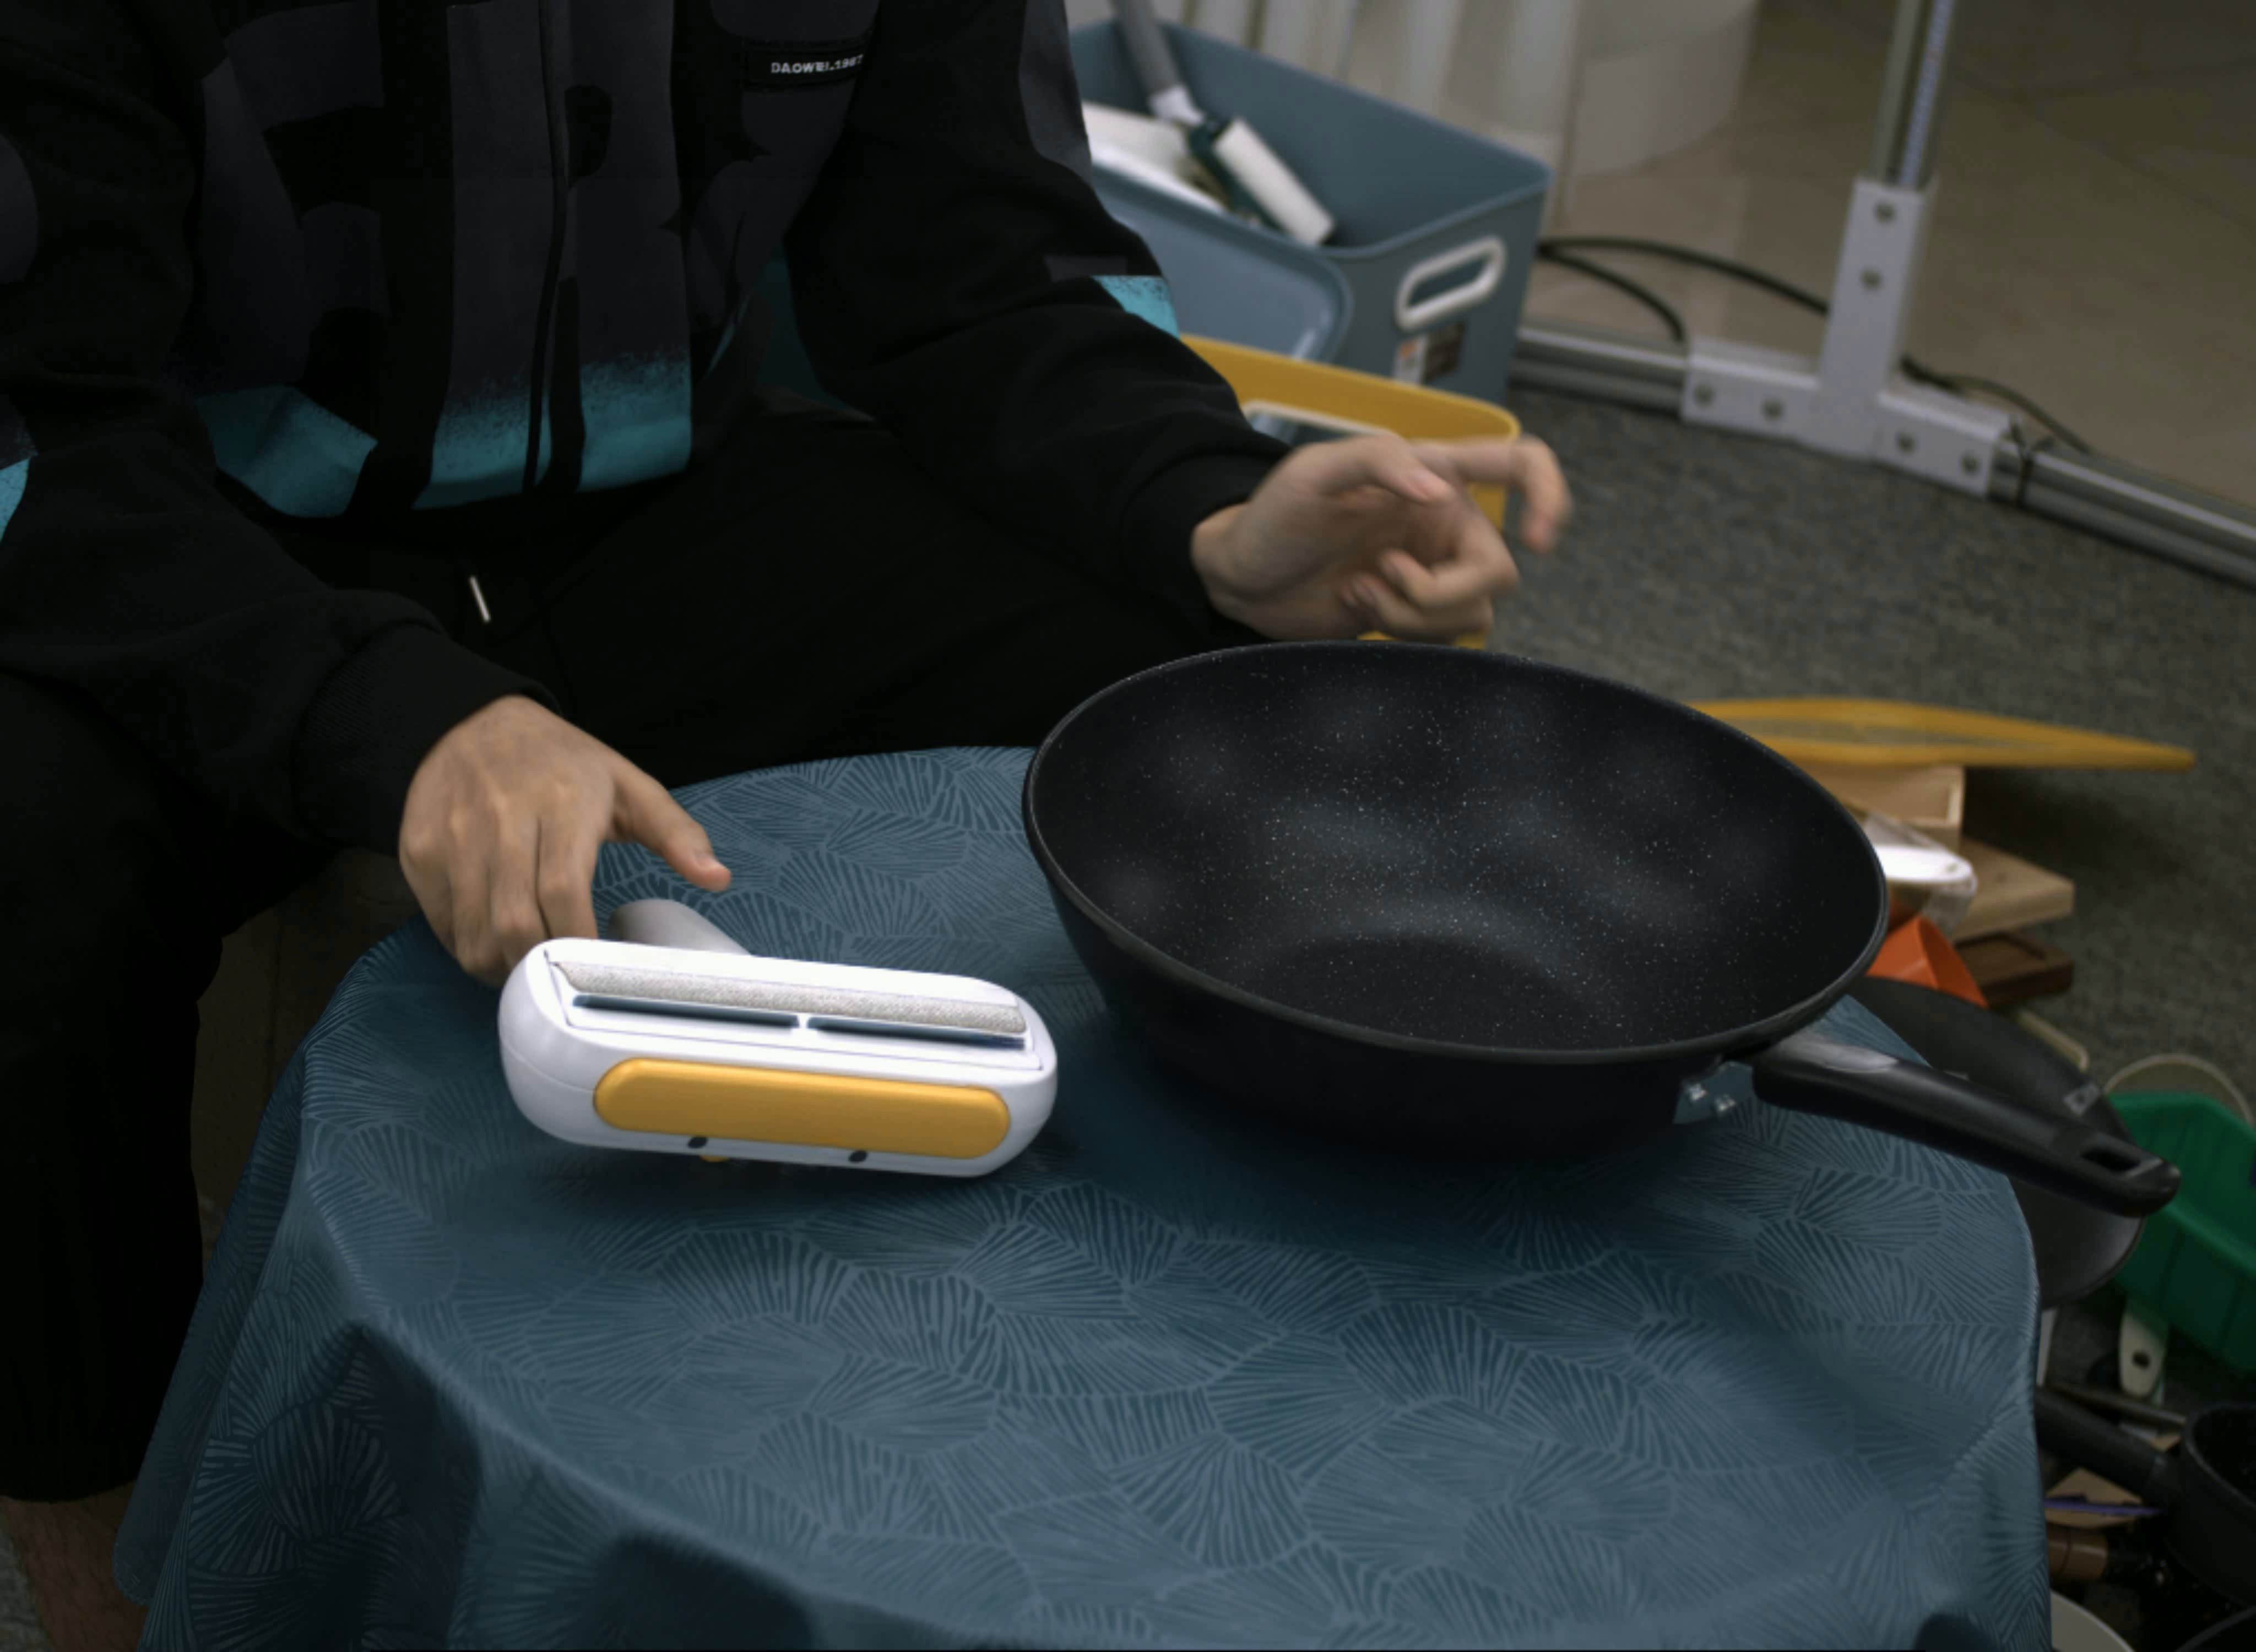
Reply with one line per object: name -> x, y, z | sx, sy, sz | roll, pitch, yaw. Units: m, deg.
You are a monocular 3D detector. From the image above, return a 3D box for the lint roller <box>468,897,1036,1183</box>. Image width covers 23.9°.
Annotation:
lint roller -> -0.141, 0.058, 1.822 | 0.191, 0.074, 0.194 | 4, 24, -18

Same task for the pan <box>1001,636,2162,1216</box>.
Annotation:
pan -> 0.161, 0.062, 1.838 | 0.308, 0.111, 0.481 | -18, 35, -37
